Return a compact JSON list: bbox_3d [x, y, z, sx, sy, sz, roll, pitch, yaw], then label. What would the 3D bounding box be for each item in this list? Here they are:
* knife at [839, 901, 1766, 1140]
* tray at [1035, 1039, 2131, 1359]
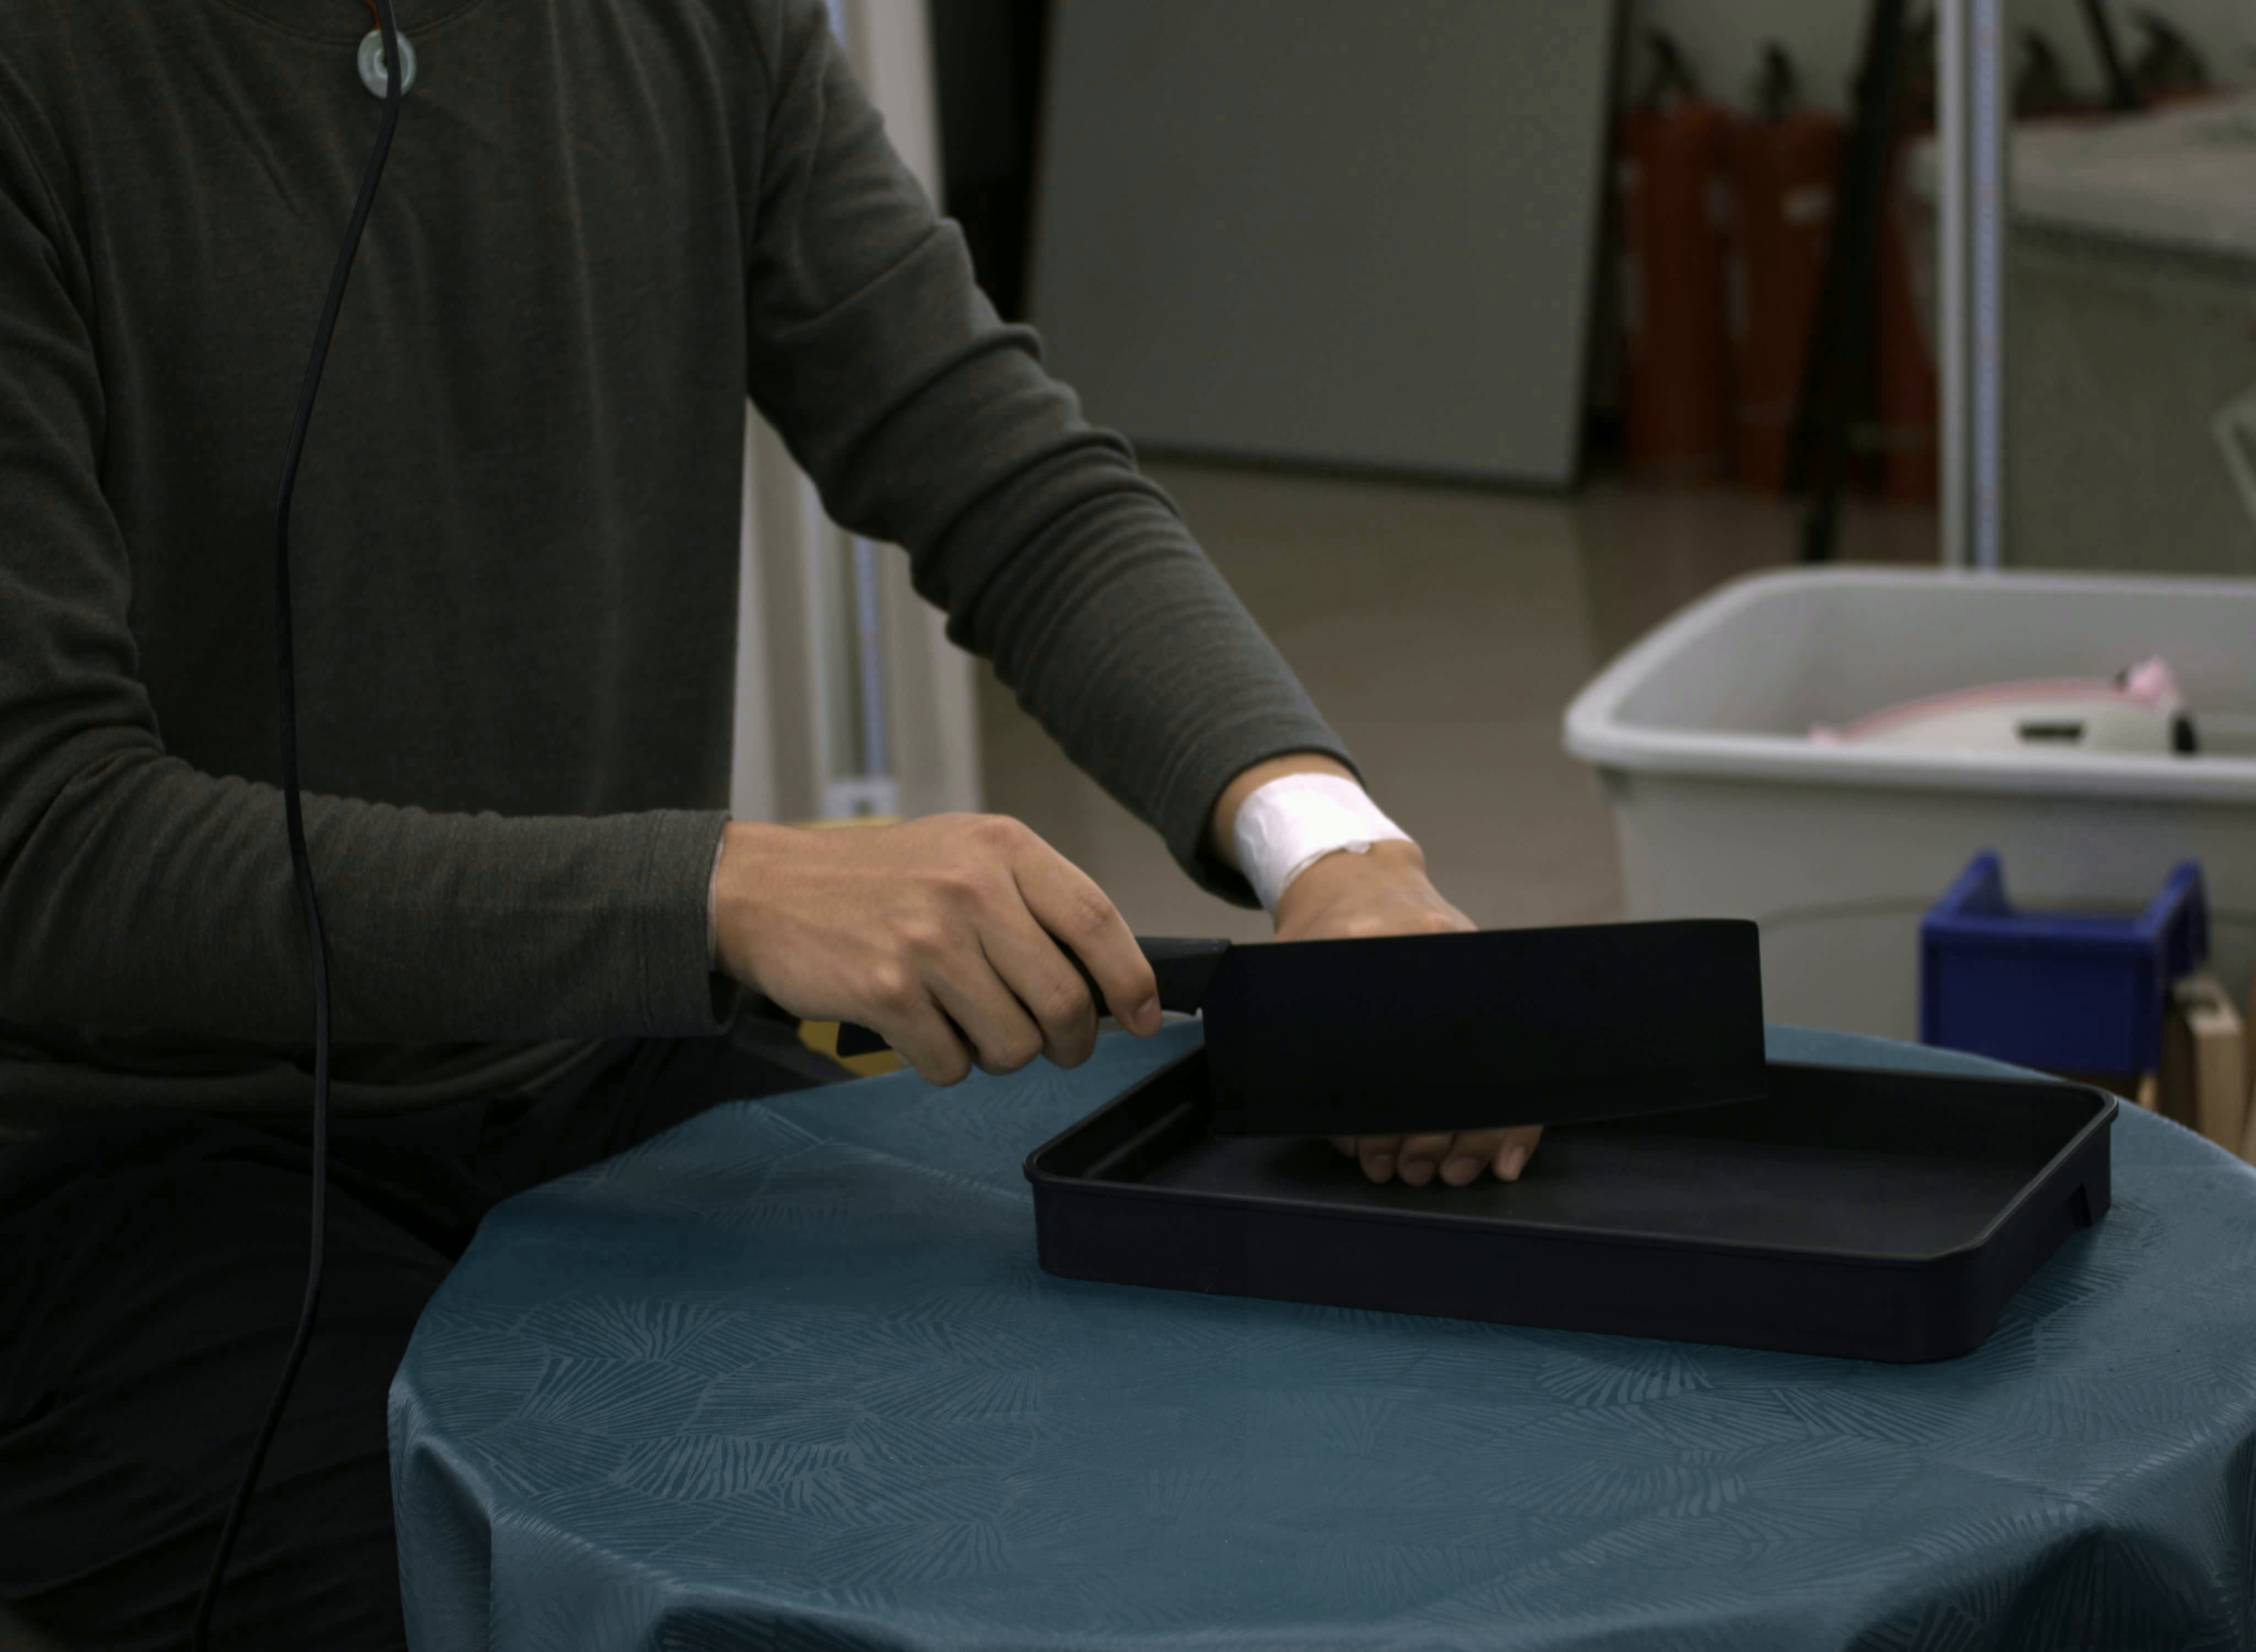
[{"bbox_3d":[0.055,0.062,1.726,0.300,0.082,0.021,0,12,9],"label":"knife"},{"bbox_3d":[0.144,0.111,1.695,0.318,0.037,0.182,3,15,26],"label":"tray"}]
